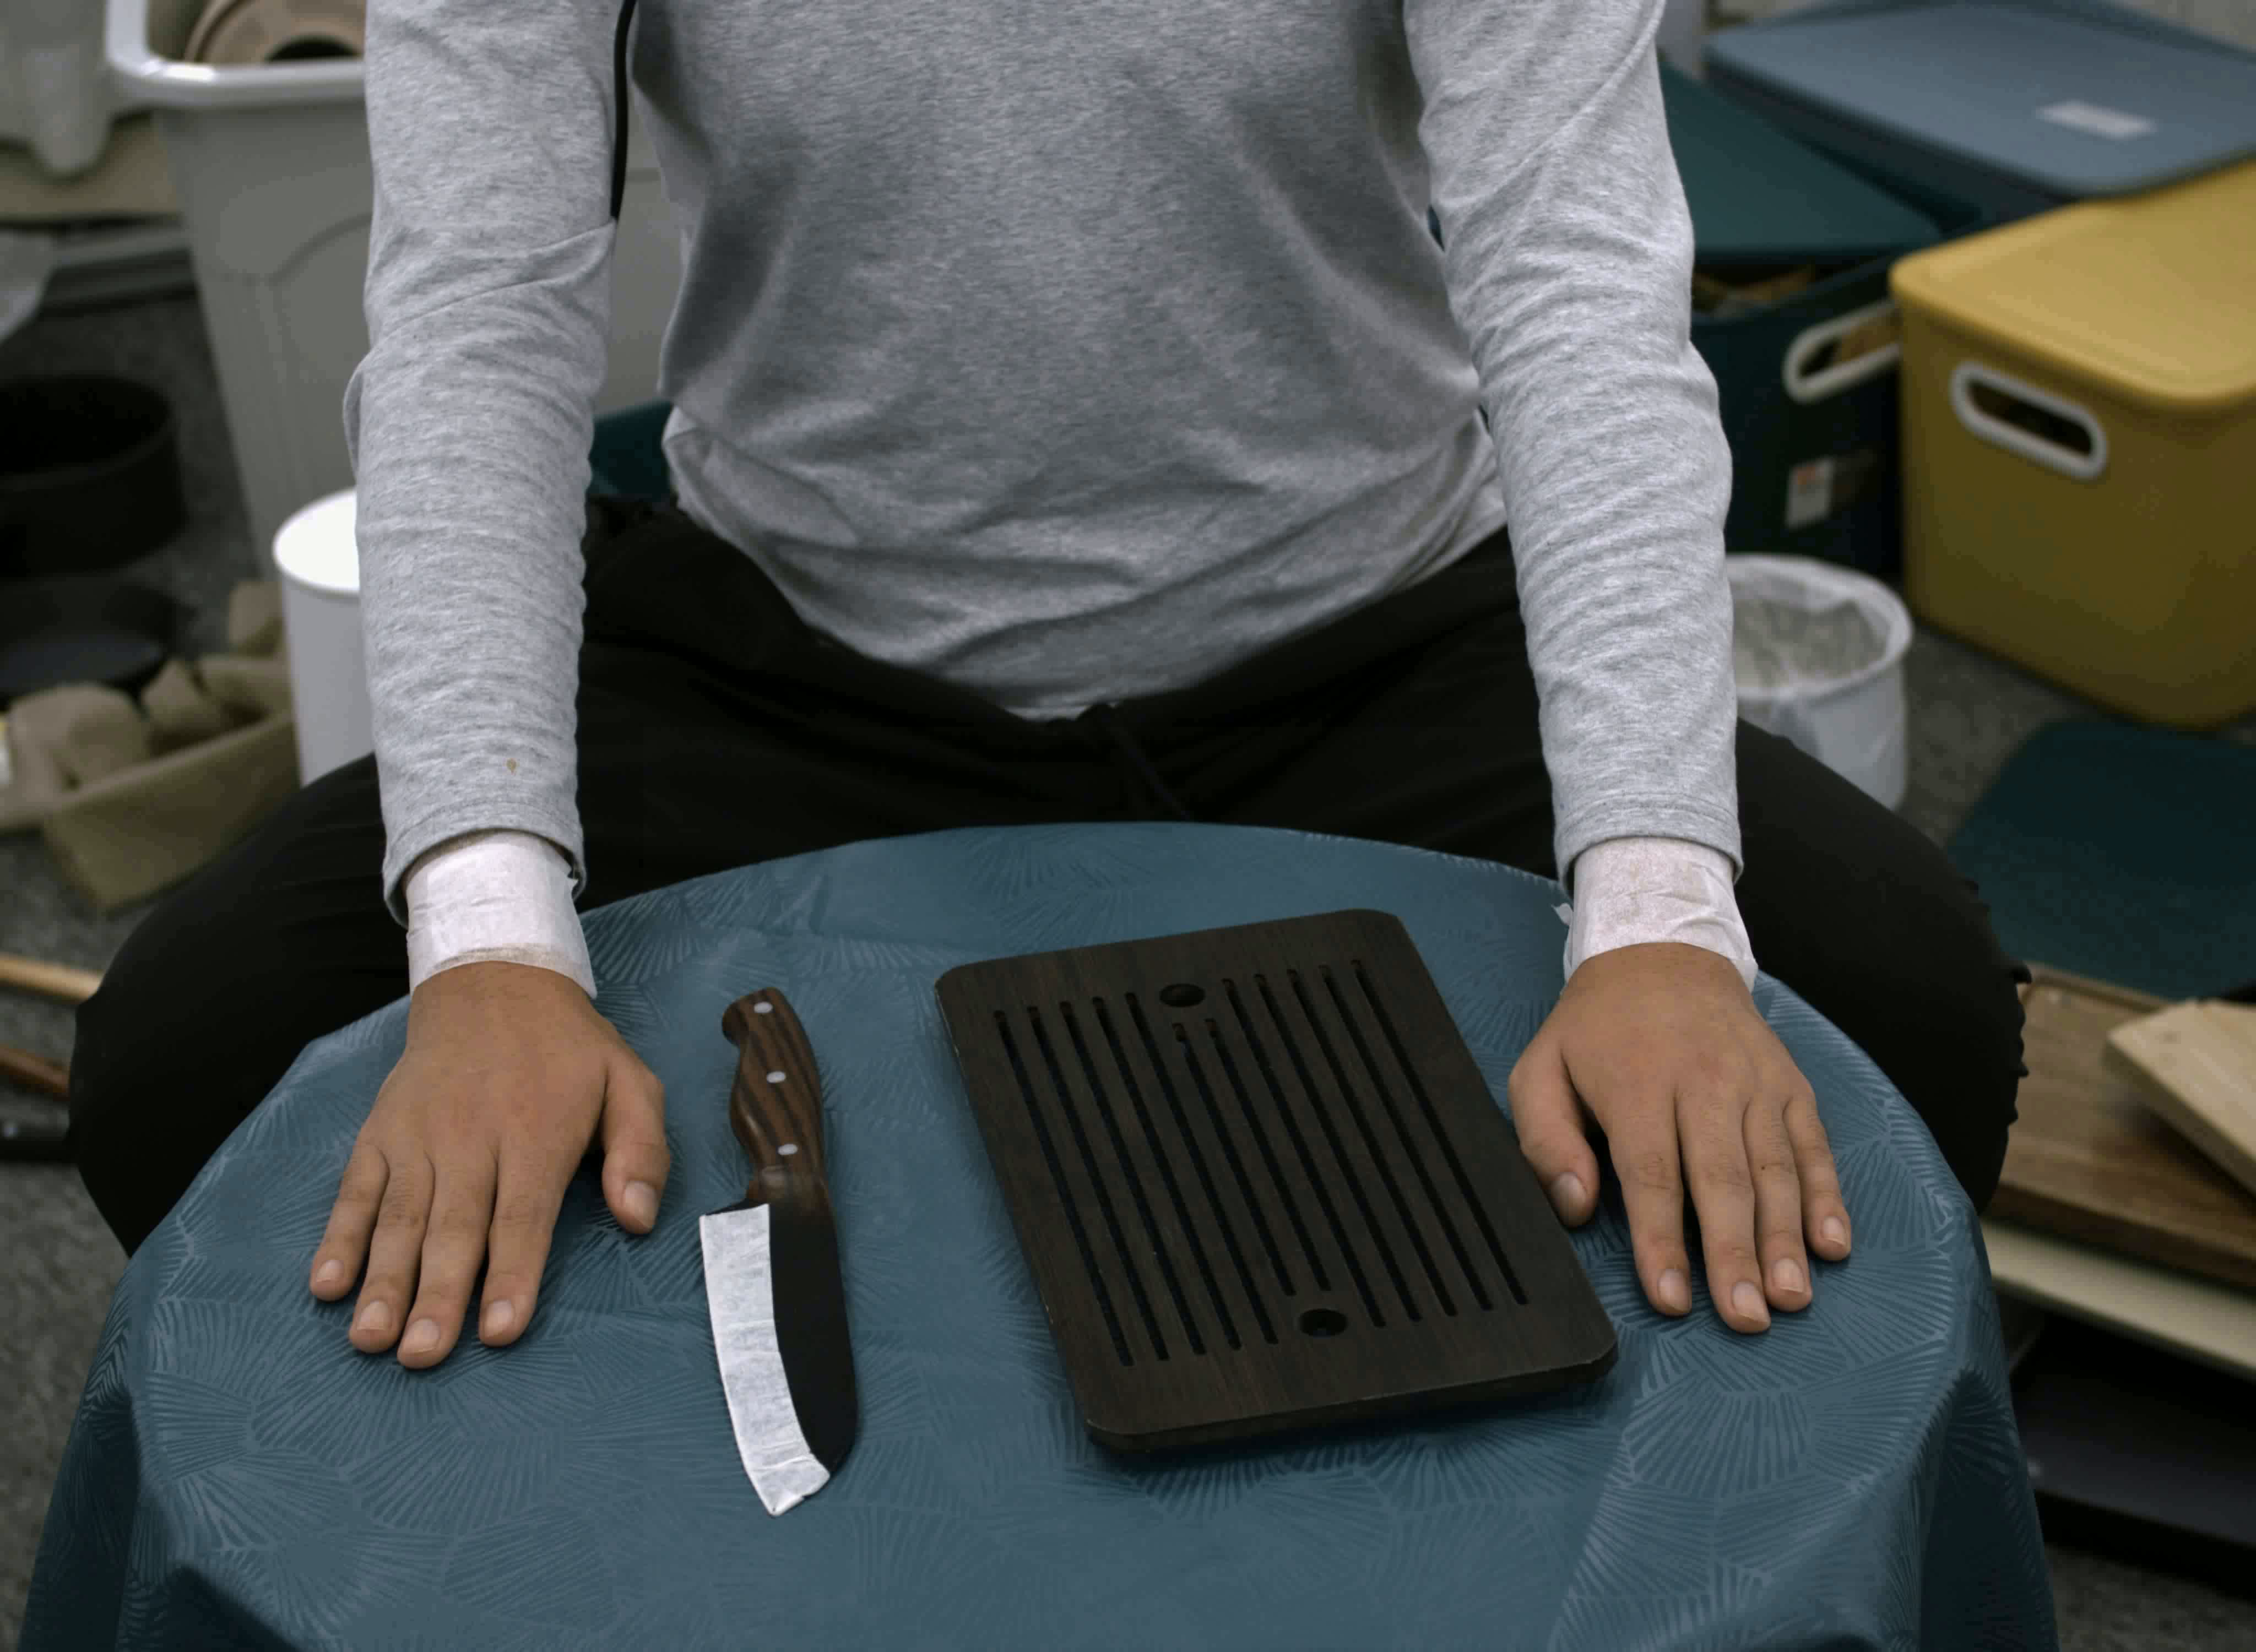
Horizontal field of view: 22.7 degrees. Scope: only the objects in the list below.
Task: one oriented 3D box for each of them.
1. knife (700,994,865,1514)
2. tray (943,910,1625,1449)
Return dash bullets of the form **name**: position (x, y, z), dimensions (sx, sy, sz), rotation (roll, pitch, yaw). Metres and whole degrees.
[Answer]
- **knife**: position (-0.114, 0.137, 1.827), dimensions (0.050, 0.020, 0.293), rotation (-9, 30, -1)
- **tray**: position (0.044, 0.113, 1.854), dimensions (0.170, 0.018, 0.309), rotation (-7, 27, -8)
